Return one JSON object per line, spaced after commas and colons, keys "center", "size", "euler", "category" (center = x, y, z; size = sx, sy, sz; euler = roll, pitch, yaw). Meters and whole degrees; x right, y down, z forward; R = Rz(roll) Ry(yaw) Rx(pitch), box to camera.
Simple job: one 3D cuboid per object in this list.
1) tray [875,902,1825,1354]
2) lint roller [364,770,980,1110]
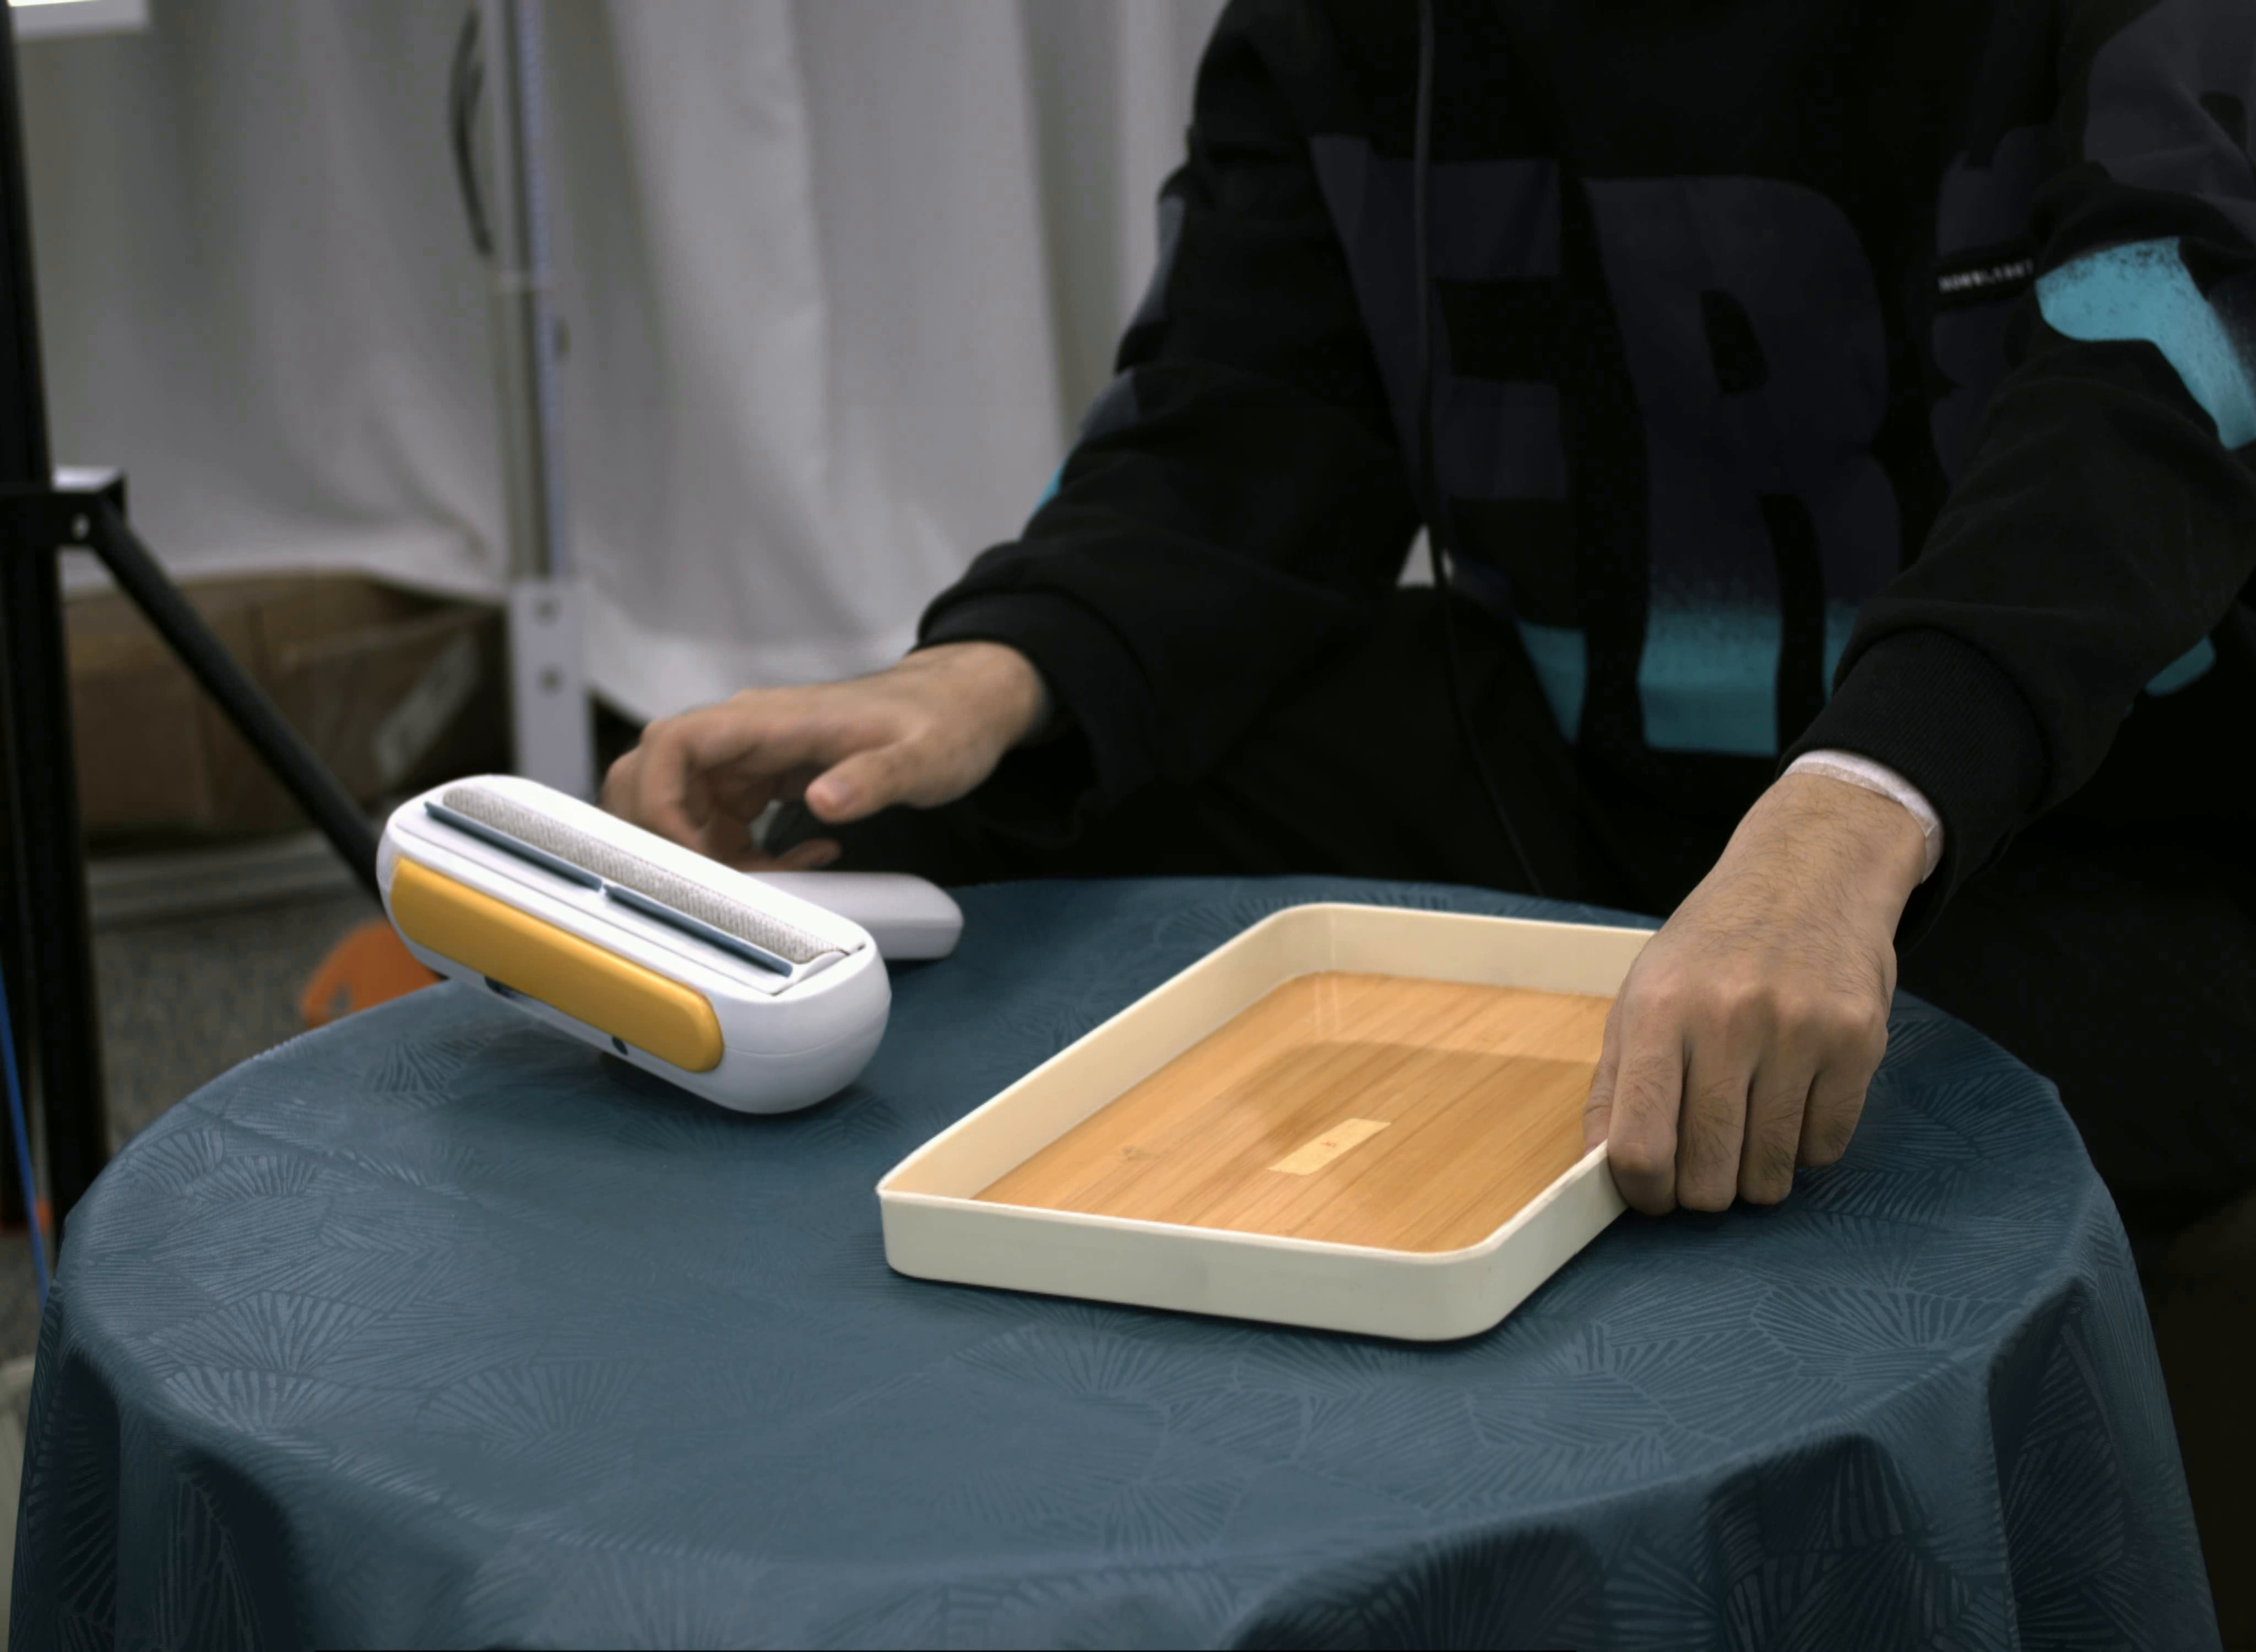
{"center": [0.073, 0.084, 1.578], "size": [0.195, 0.027, 0.295], "euler": [6, 18, 27], "category": "tray"}
{"center": [-0.124, 0.030, 1.732], "size": [0.197, 0.074, 0.188], "euler": [19, 25, 41], "category": "lint roller"}
